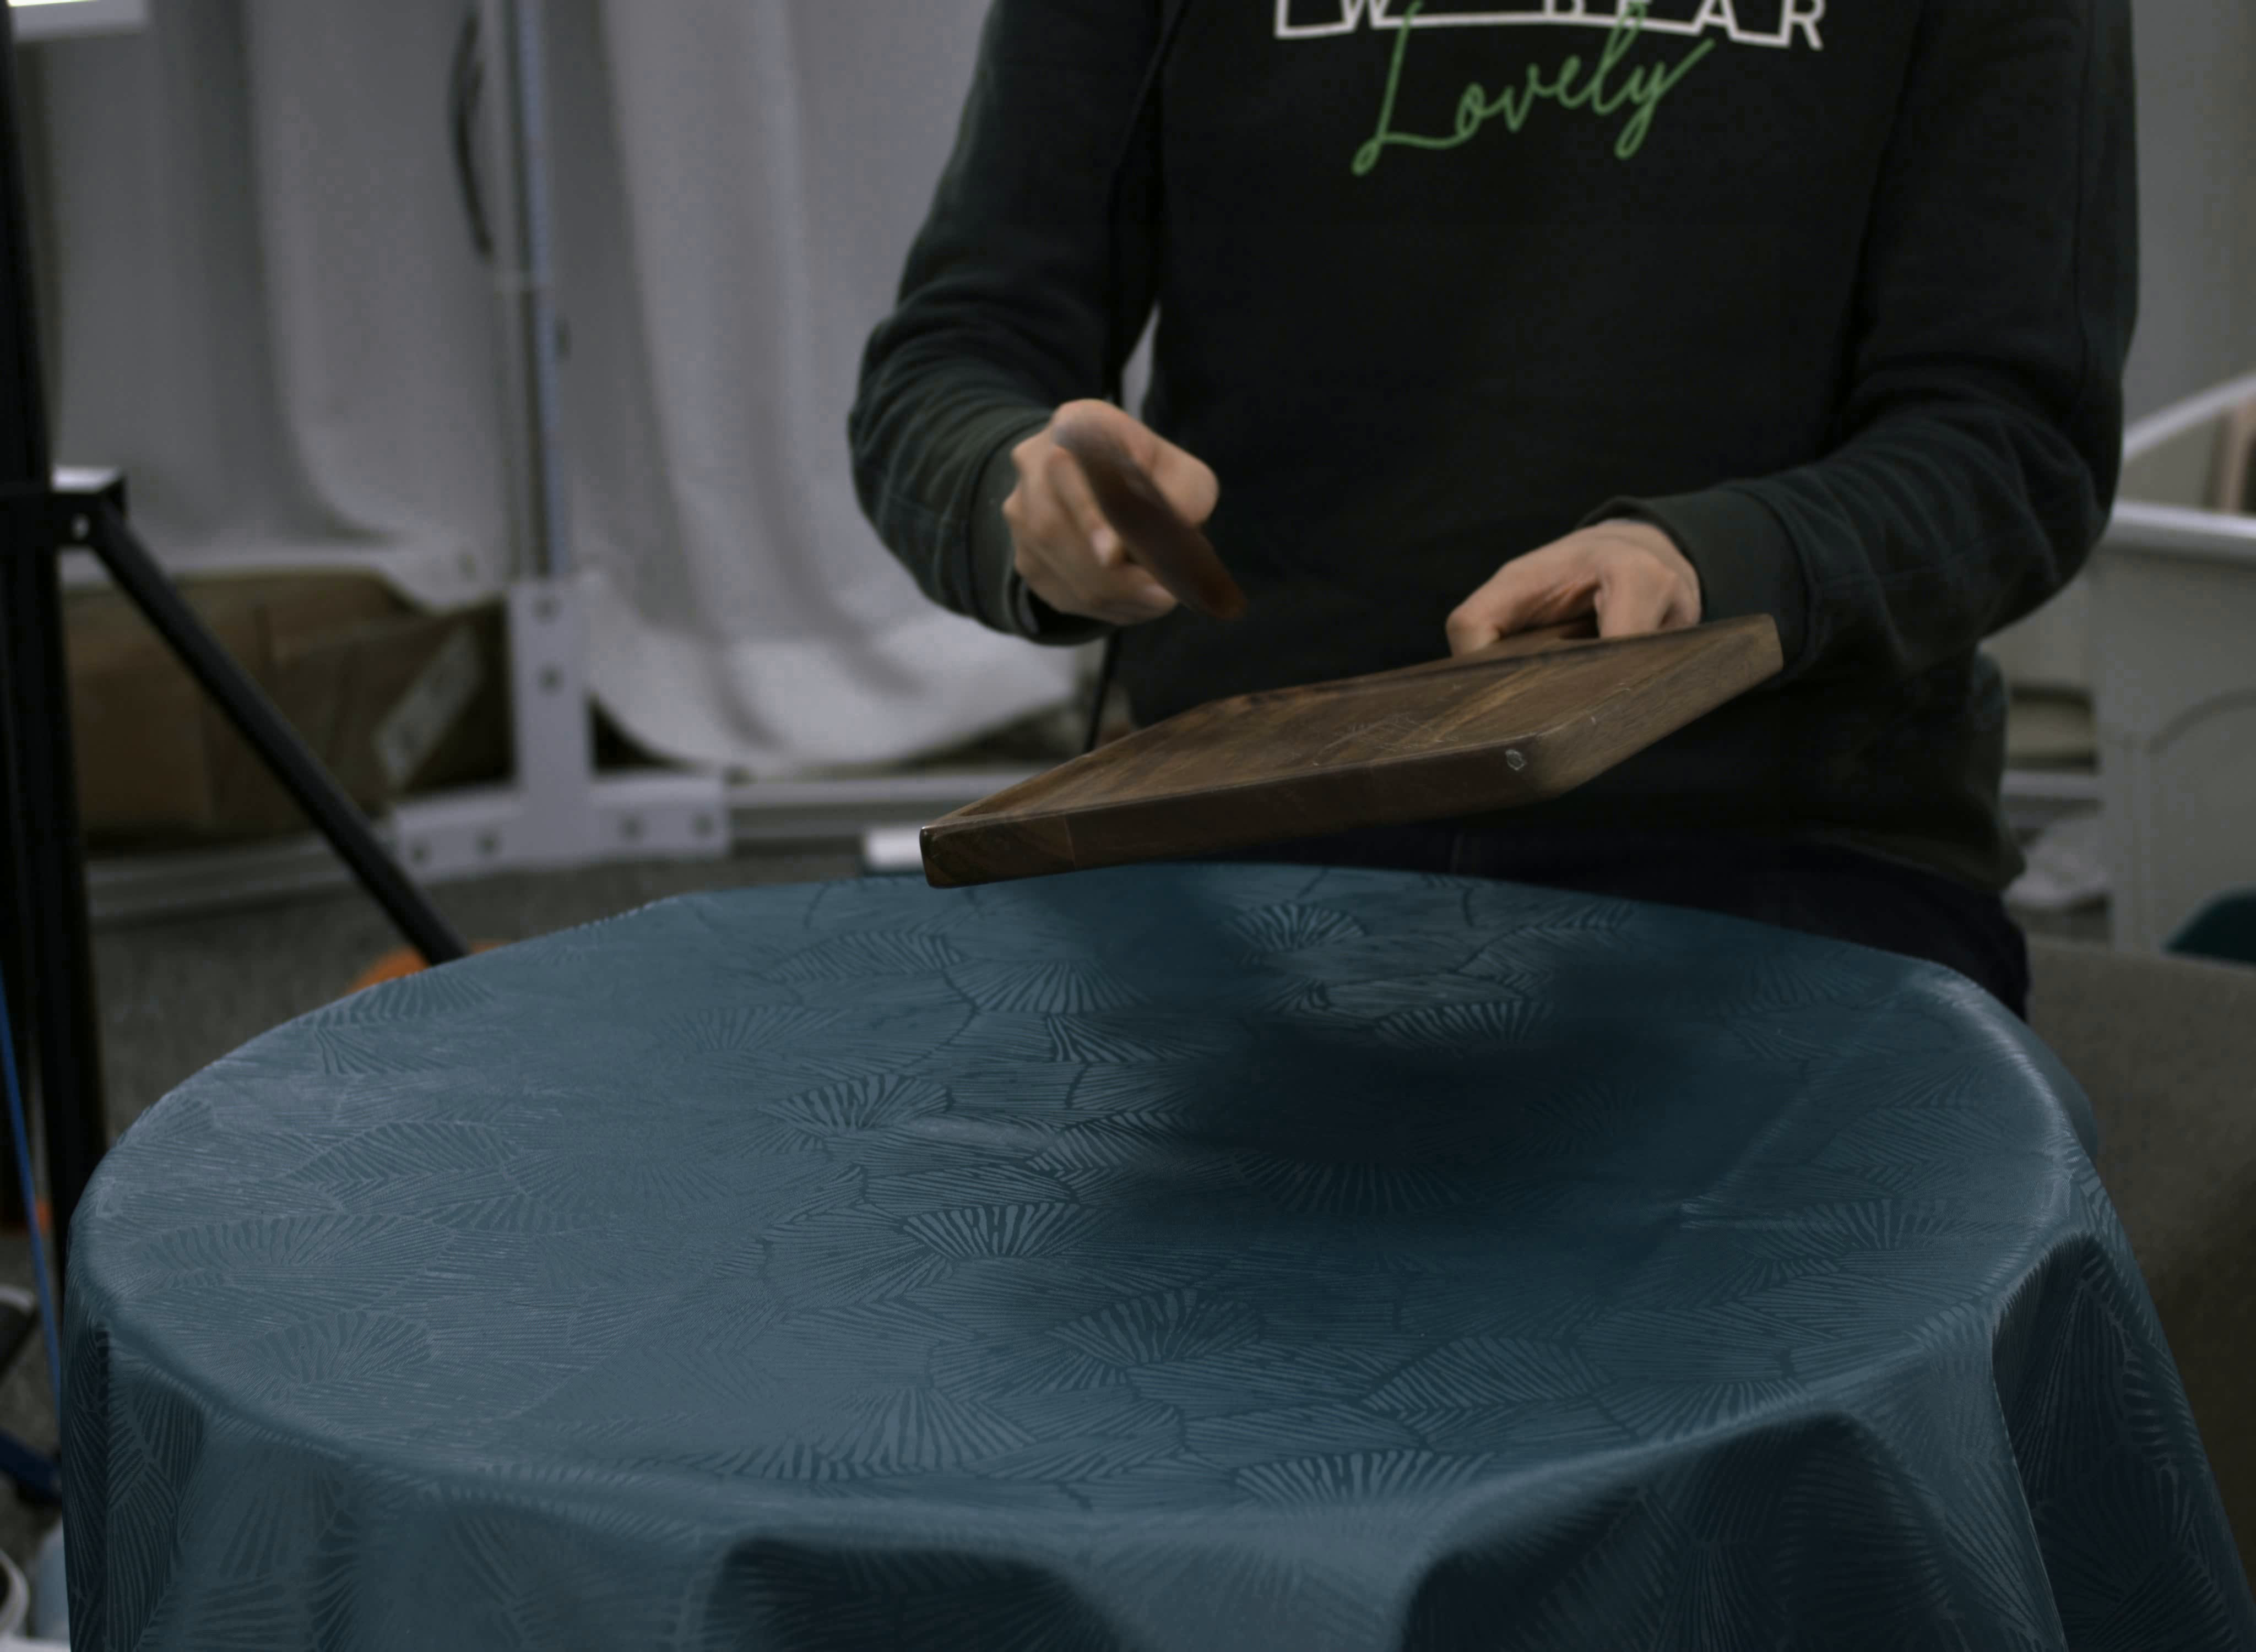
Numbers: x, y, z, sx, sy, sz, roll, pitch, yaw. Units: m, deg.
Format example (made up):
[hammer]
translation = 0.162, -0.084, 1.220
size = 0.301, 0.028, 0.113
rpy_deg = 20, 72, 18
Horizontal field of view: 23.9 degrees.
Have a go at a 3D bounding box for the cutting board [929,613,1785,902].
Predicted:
[cutting board]
translation = 0.091, -0.030, 1.628
size = 0.203, 0.023, 0.347
rpy_deg = -10, 6, 23

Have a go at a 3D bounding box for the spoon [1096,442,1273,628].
[spoon]
translation = 0.010, -0.089, 1.703
size = 0.017, 0.075, 0.216
rpy_deg = -42, 4, -2
